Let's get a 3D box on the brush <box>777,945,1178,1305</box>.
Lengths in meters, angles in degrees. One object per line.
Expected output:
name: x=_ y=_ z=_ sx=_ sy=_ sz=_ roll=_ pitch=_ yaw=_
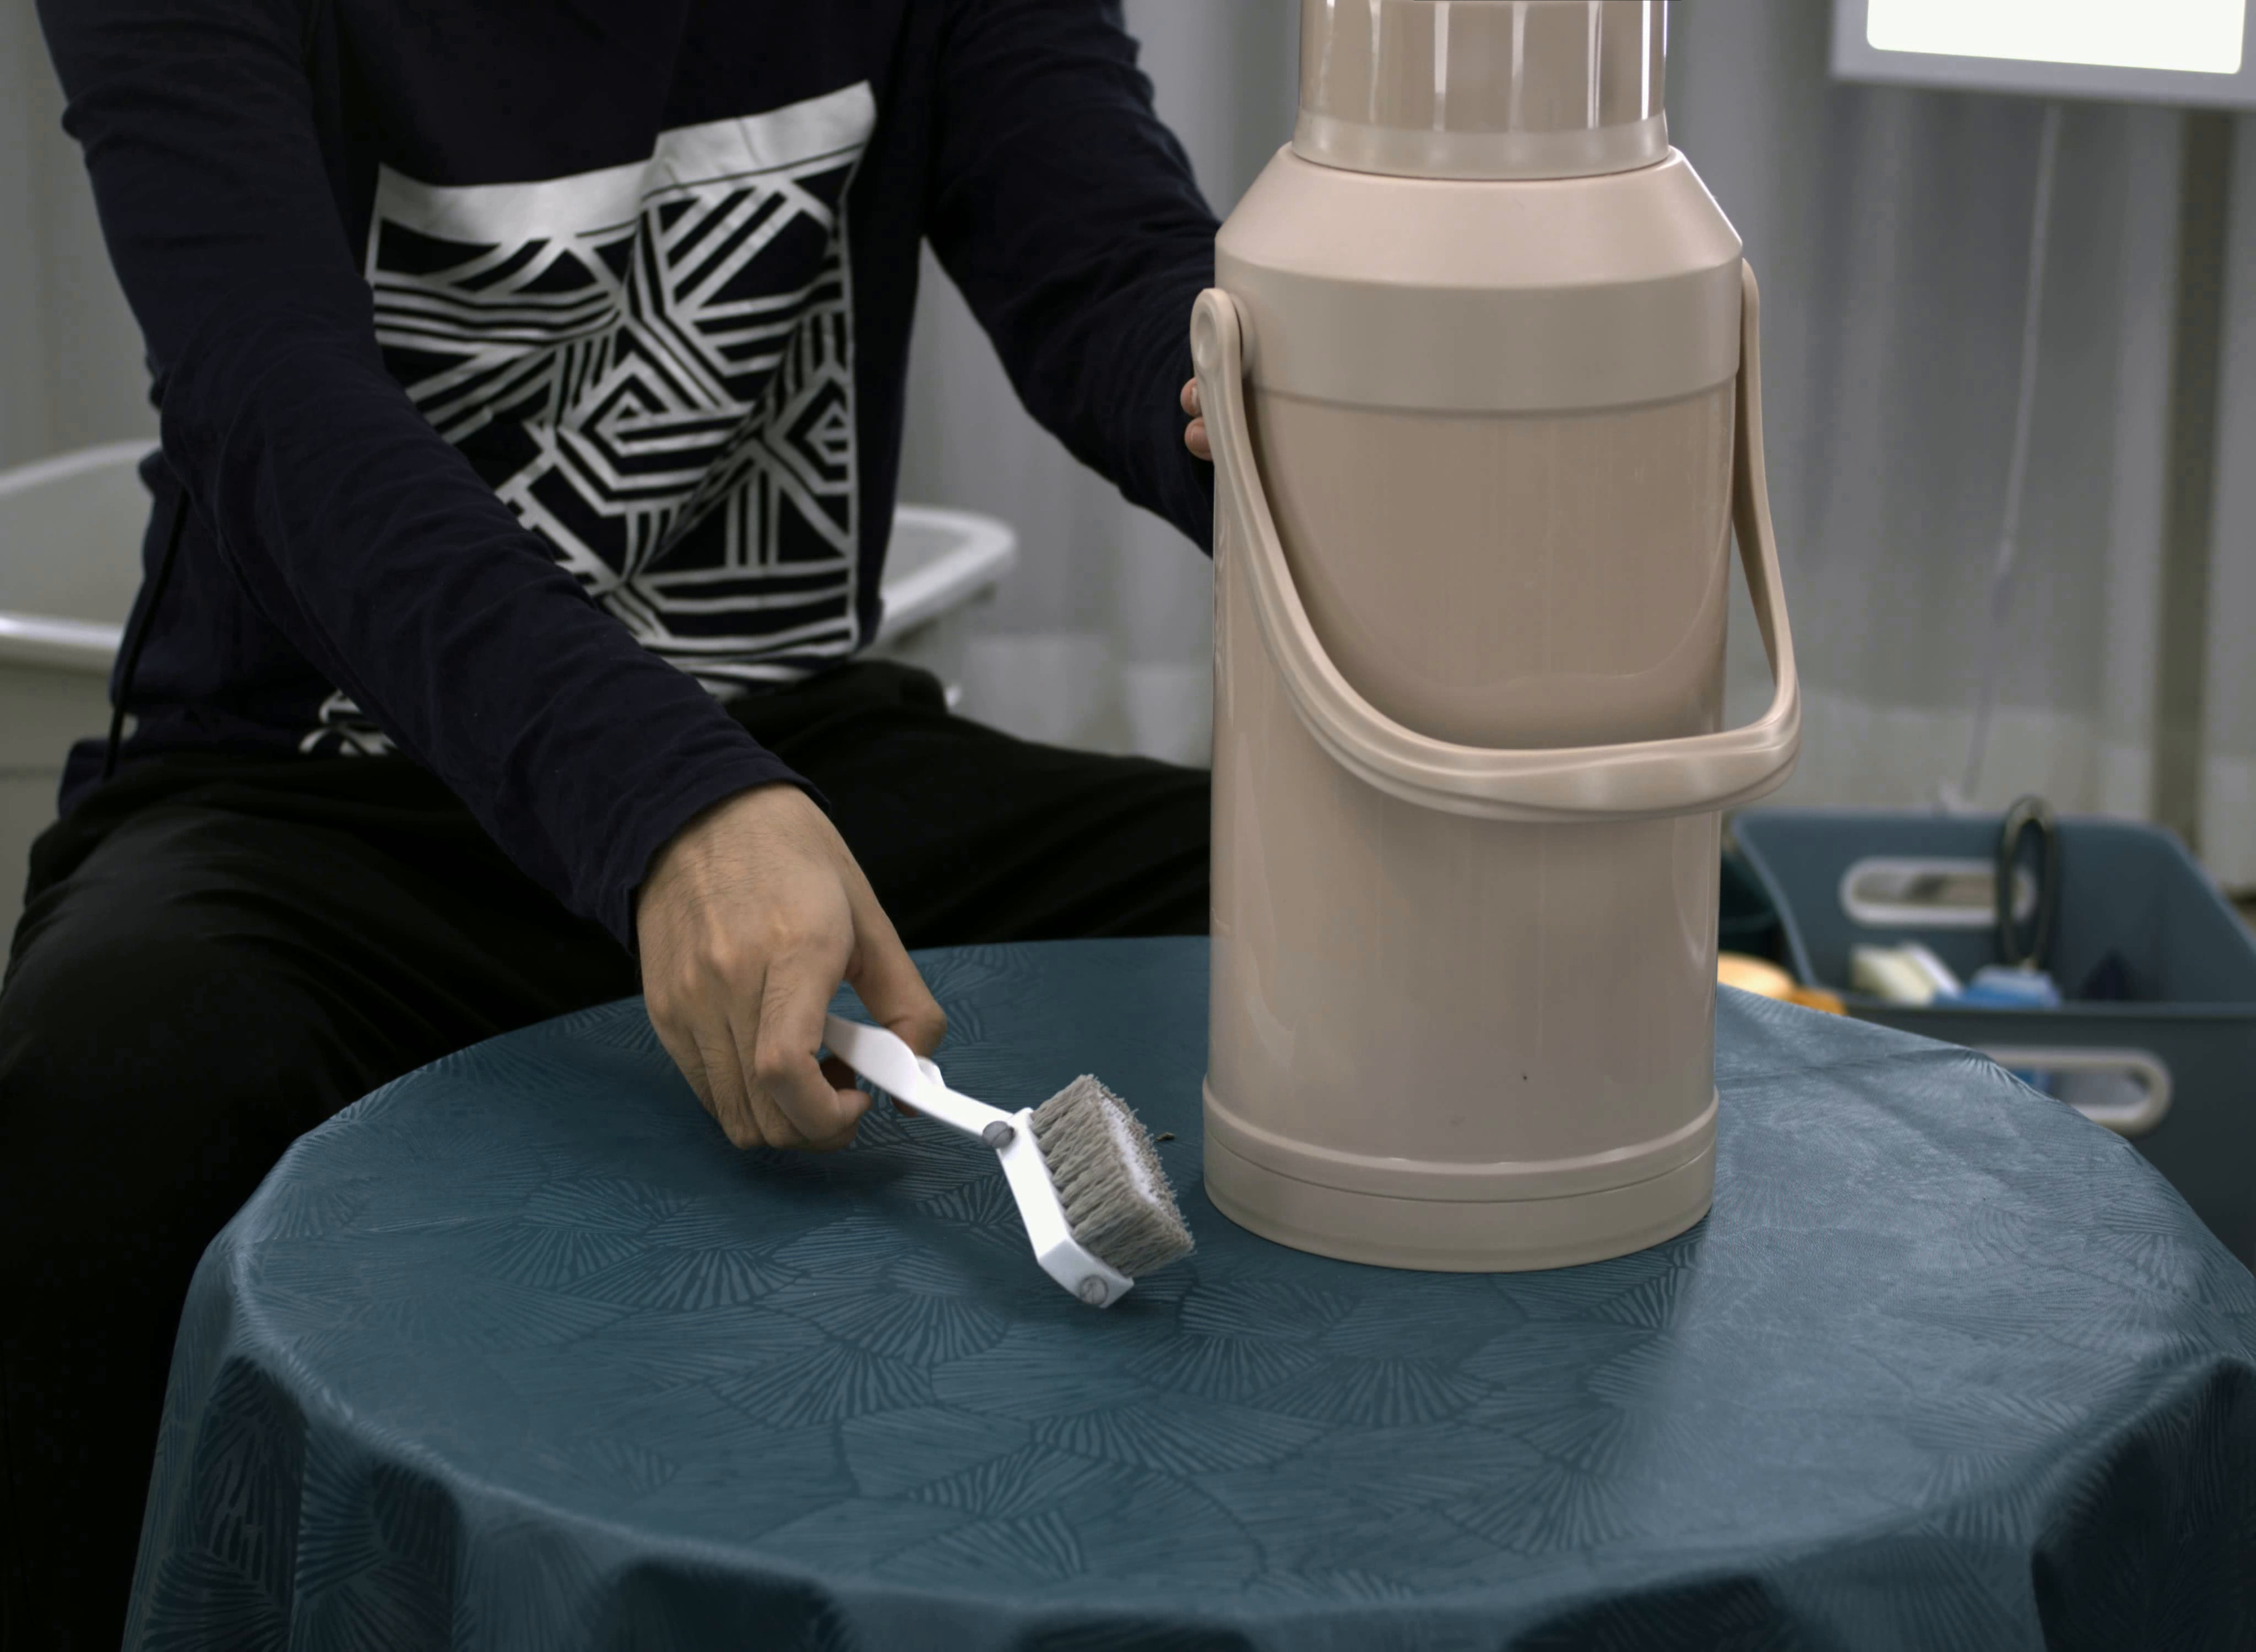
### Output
brush: x=-0.048 y=0.073 z=1.601 sx=0.035 sy=0.050 sz=0.240 roll=26 pitch=10 yaw=-33

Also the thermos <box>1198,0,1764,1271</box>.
thermos: x=0.102 y=-0.083 z=1.591 sx=0.176 sy=0.410 sz=0.204 roll=-8 pitch=18 yaw=-22
